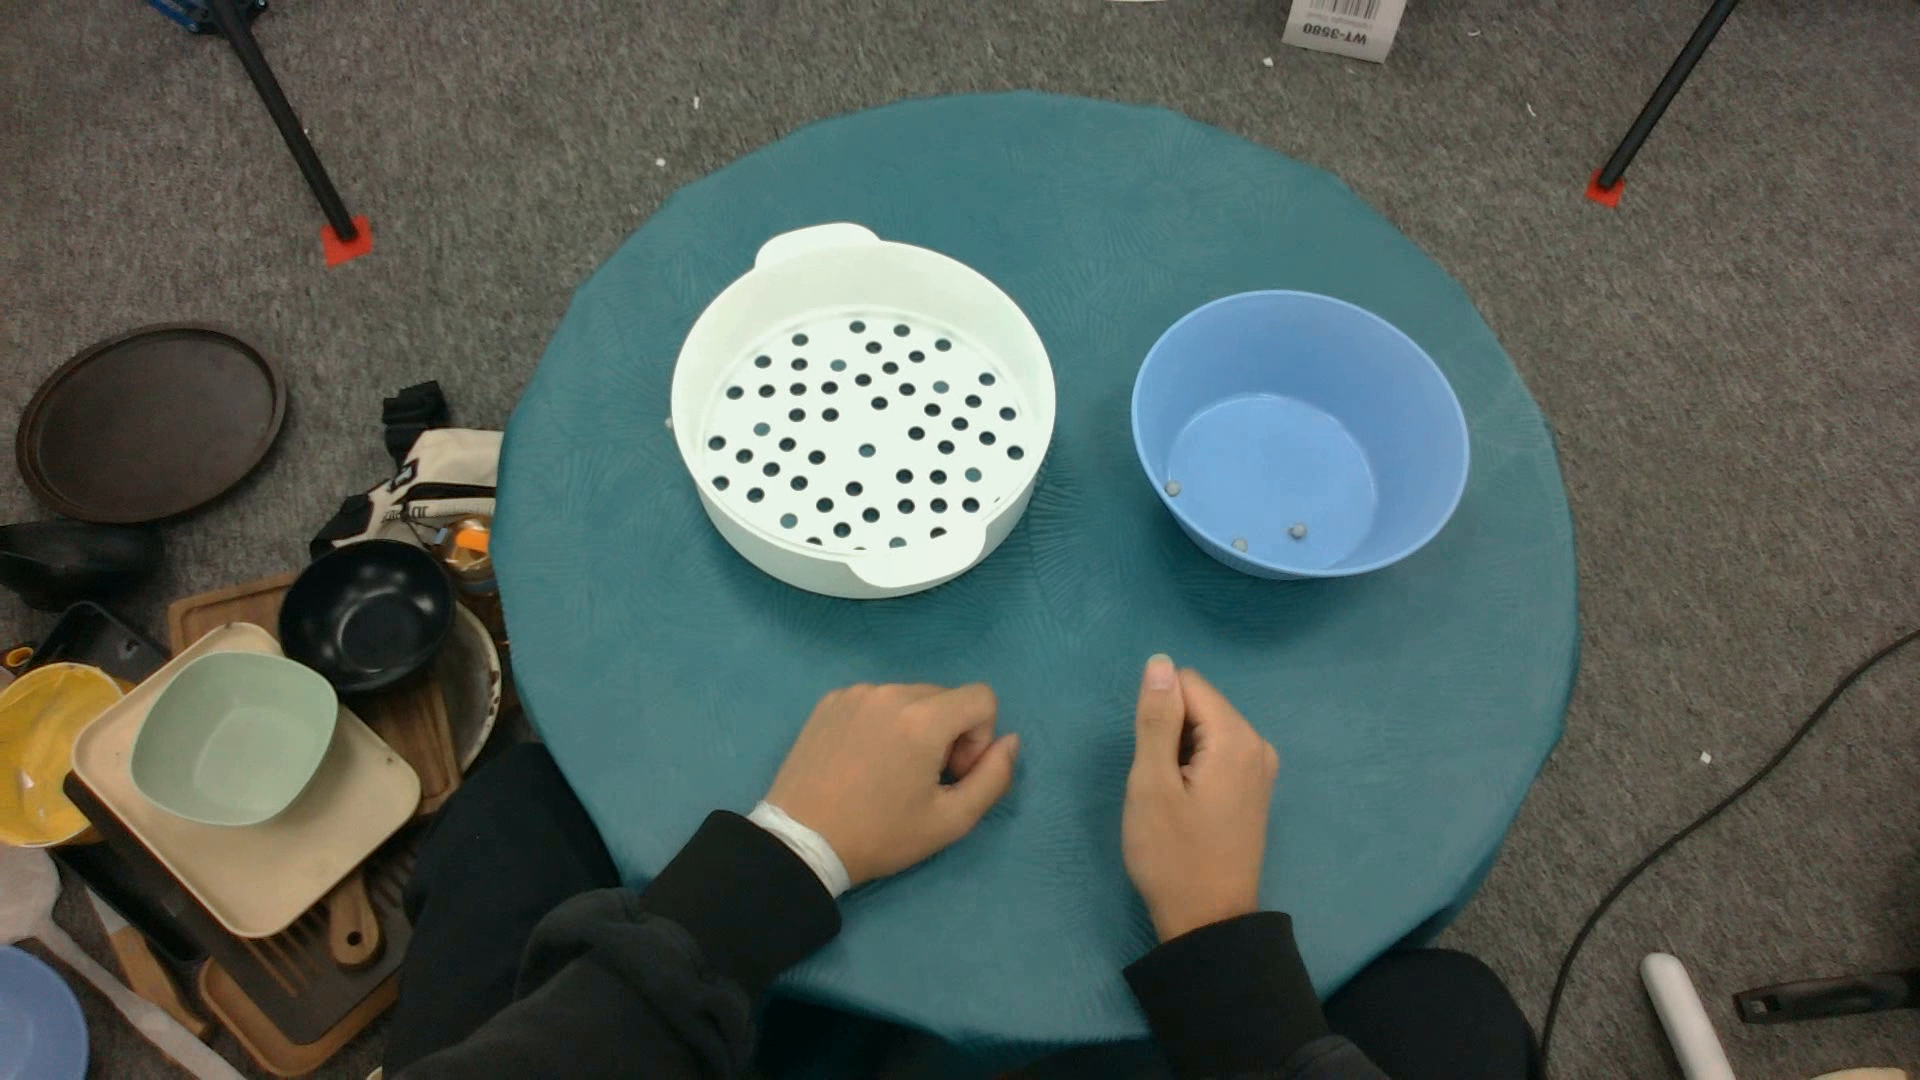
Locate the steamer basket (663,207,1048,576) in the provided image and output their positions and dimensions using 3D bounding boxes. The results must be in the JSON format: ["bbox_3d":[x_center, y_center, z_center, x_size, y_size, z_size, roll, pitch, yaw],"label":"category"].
[{"bbox_3d":[-0.056,-0.076,0.748,0.202,0.069,0.231,-15,62,-11],"label":"steamer basket"}]

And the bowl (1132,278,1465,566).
[{"bbox_3d":[0.177,-0.053,0.749,0.176,0.070,0.177,1,62,-2],"label":"bowl"}]
